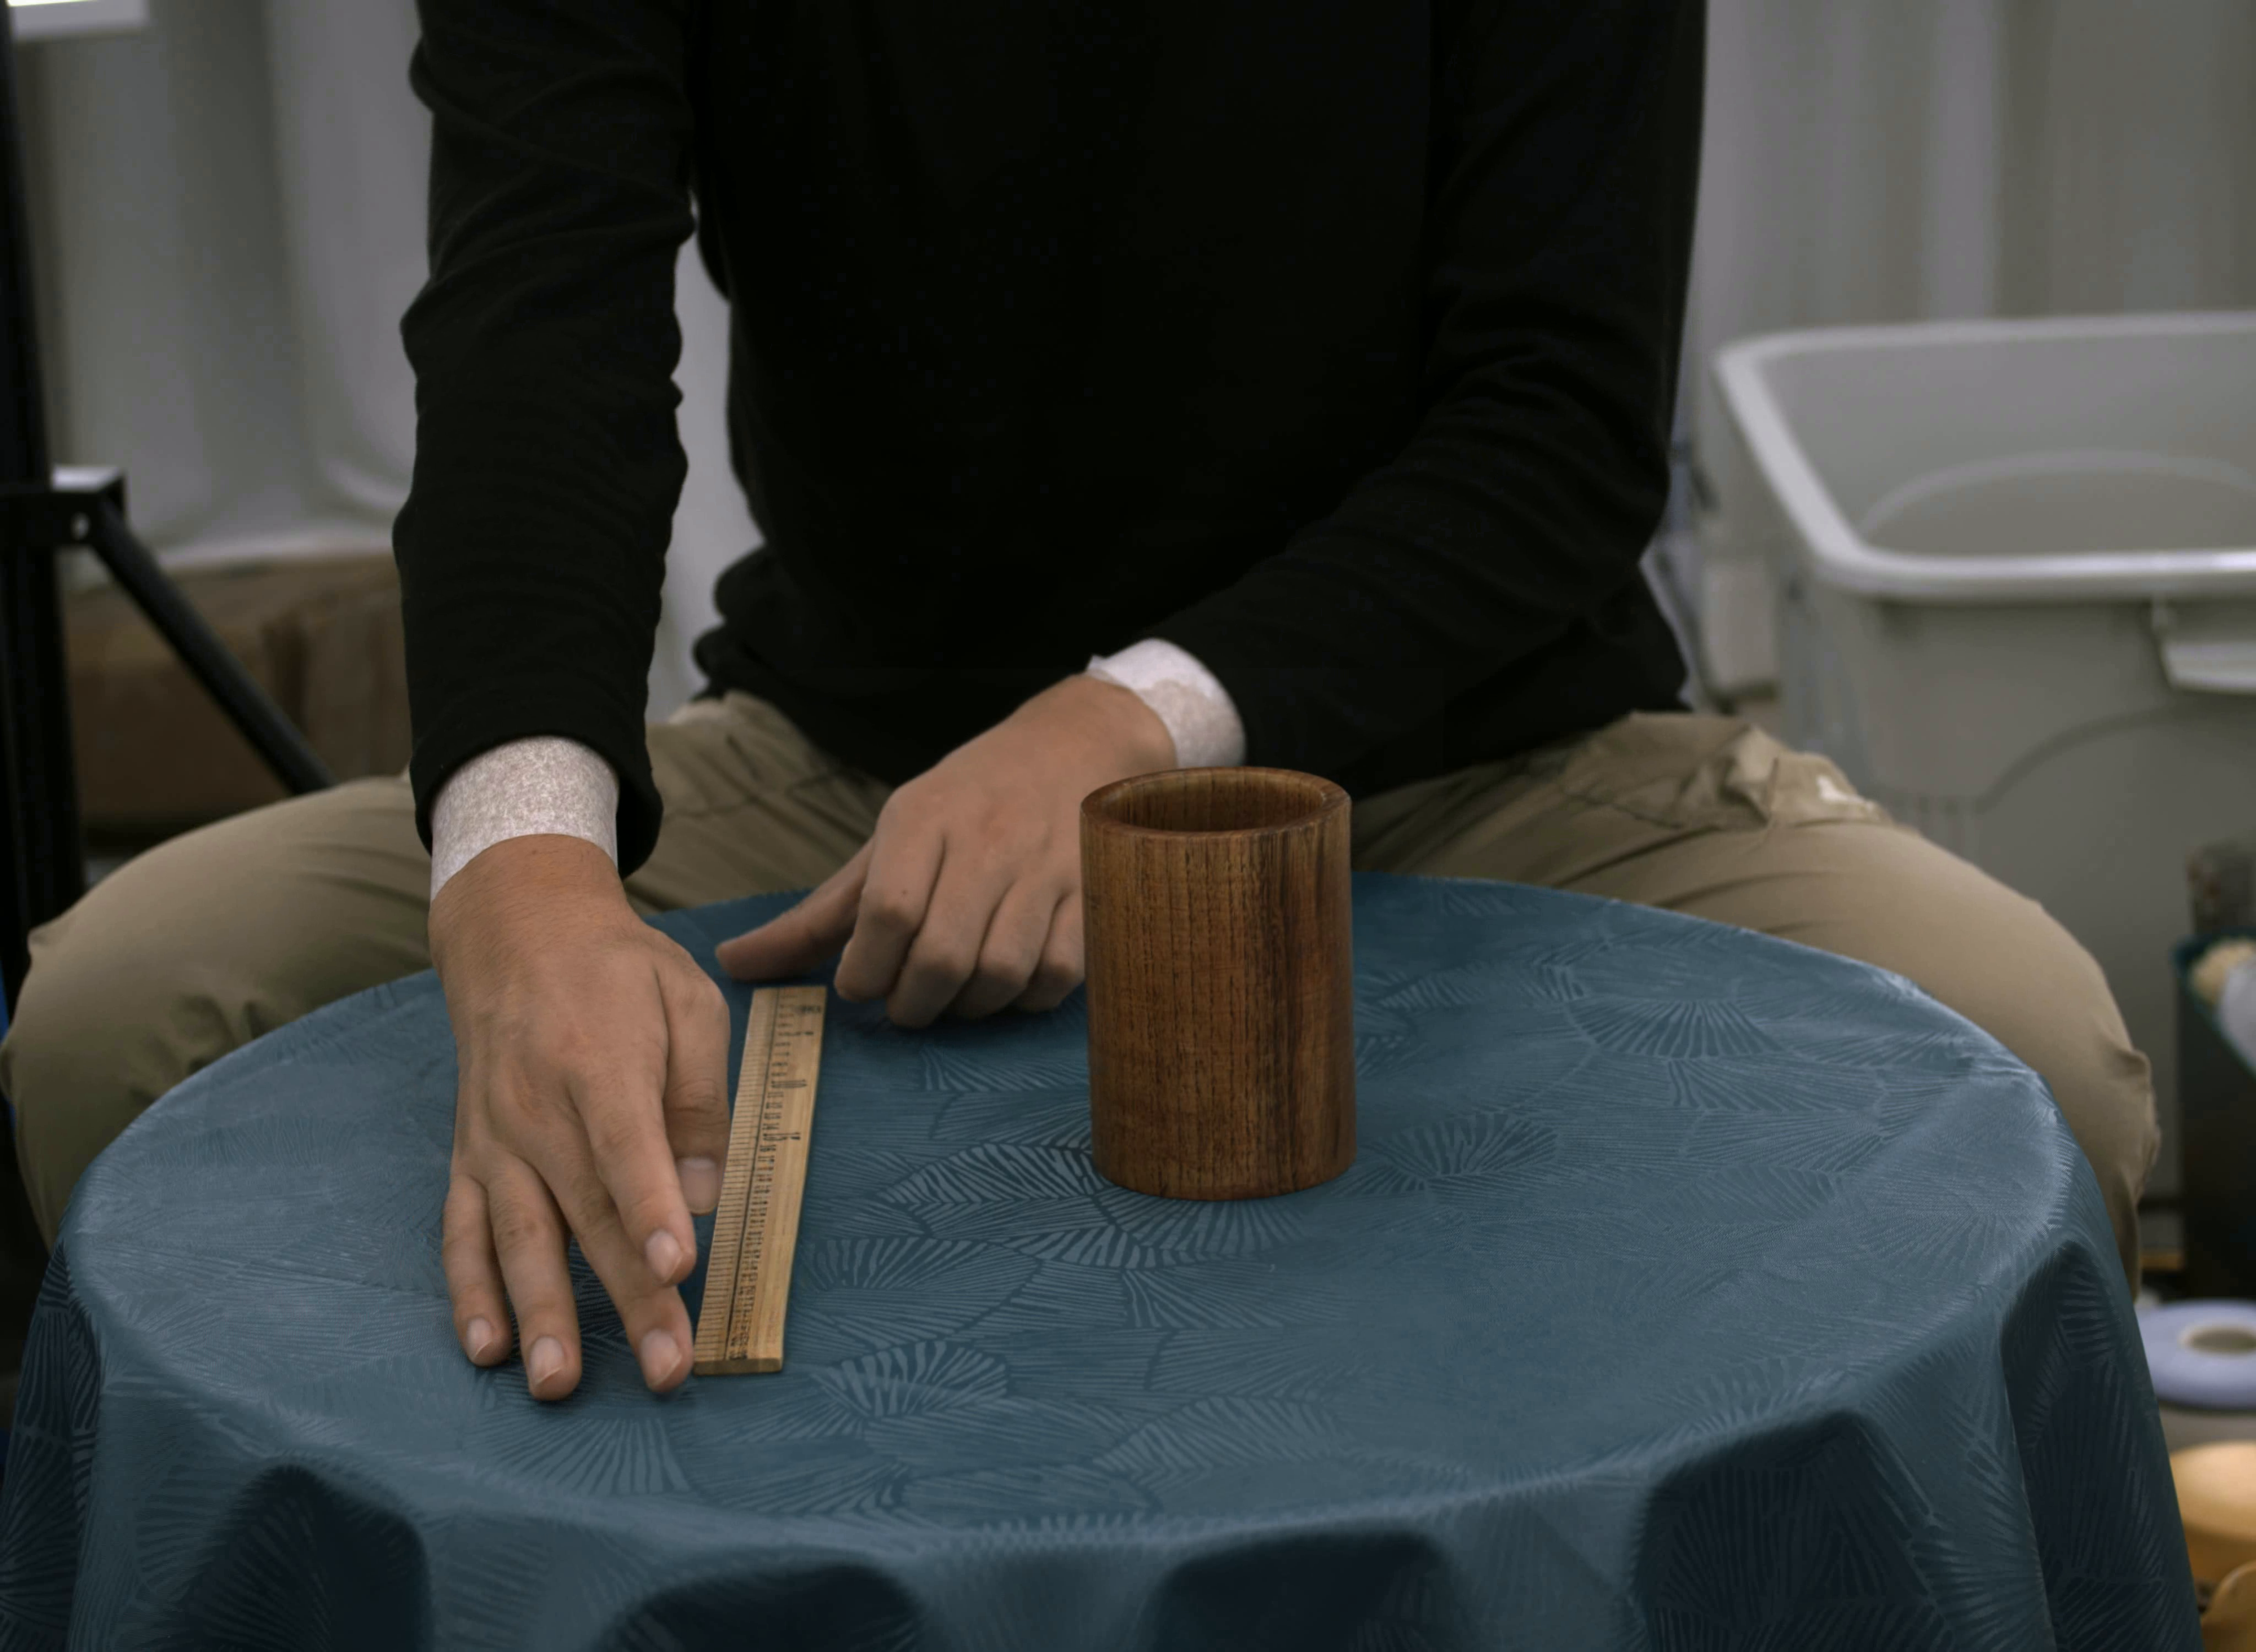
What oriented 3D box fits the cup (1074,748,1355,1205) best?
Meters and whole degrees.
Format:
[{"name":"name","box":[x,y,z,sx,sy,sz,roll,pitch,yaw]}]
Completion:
[{"name":"cup","box":[0.026,0.044,1.568,0.087,0.118,0.088,-1,15,-1]}]

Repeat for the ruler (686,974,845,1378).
[{"name":"ruler","box":[-0.107,0.098,1.594,0.027,0.022,0.333,3,16,0]}]
